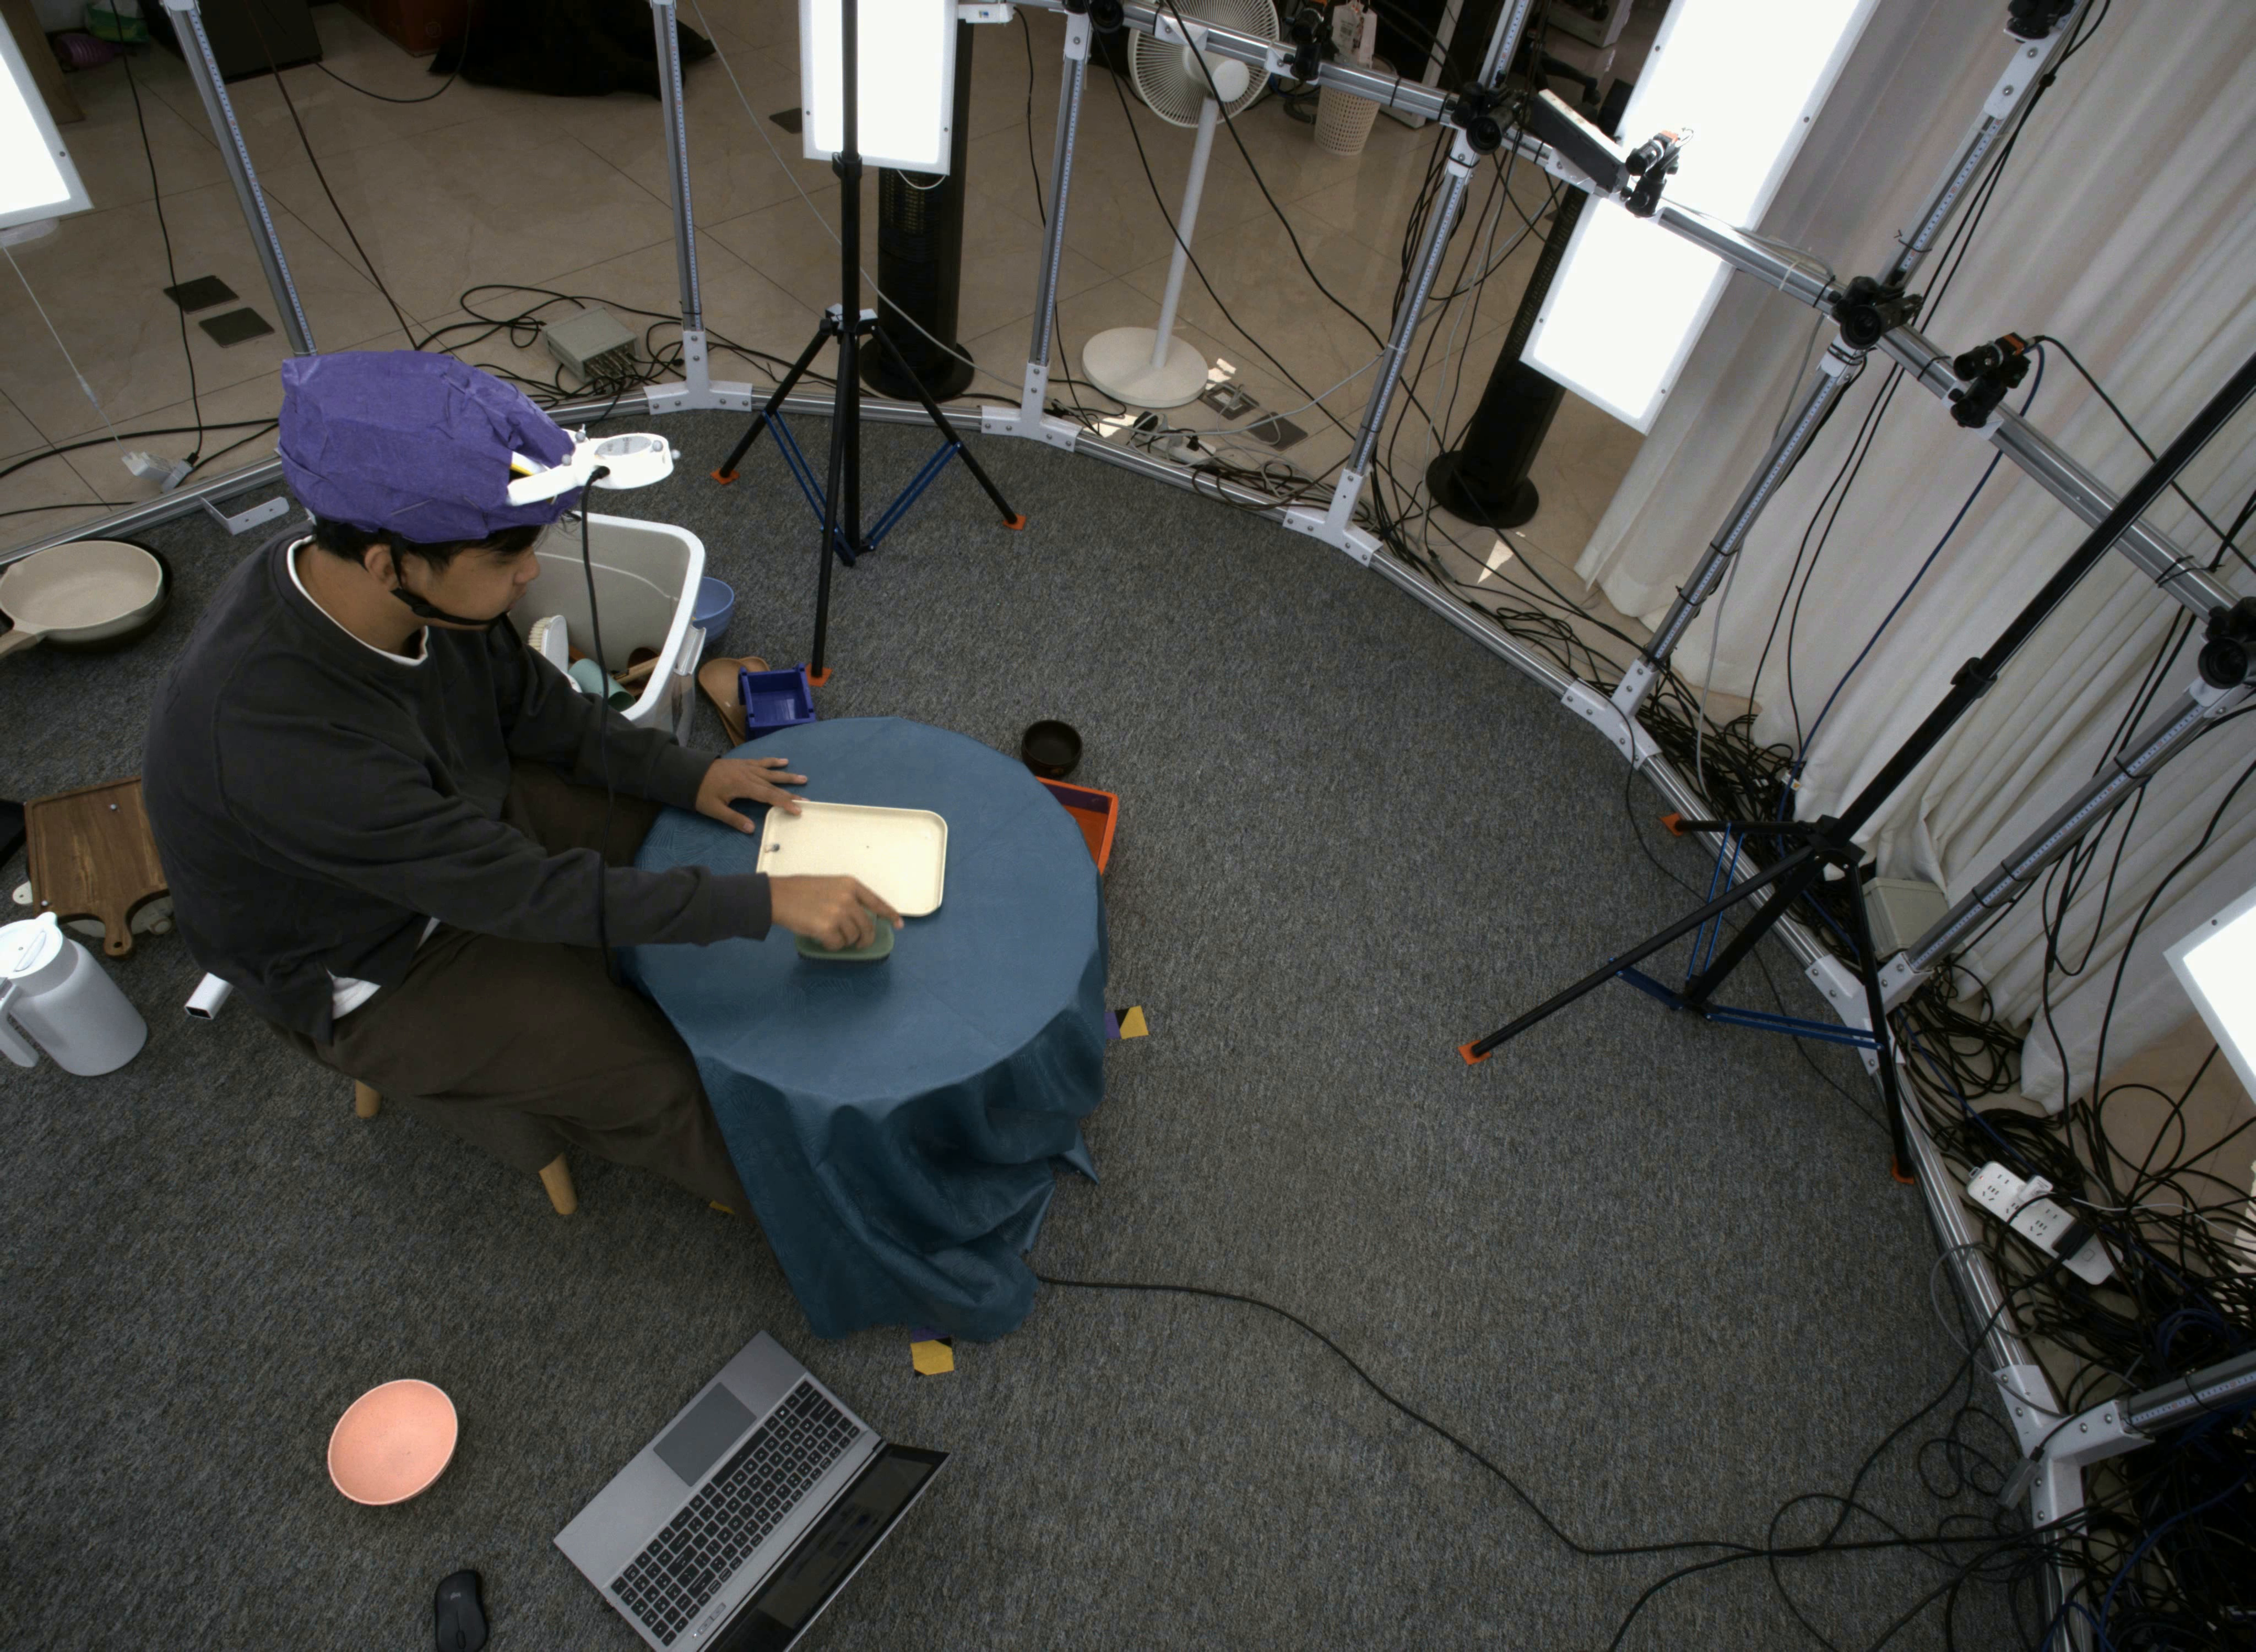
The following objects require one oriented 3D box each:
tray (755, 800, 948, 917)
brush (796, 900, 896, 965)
[{"bbox_3d":[-0.357,0.042,1.694,0.239,0.018,0.168,5,53,-10],"label":"tray"},{"bbox_3d":[-0.339,0.128,1.572,0.122,0.078,0.058,-9,43,-6],"label":"brush"}]
